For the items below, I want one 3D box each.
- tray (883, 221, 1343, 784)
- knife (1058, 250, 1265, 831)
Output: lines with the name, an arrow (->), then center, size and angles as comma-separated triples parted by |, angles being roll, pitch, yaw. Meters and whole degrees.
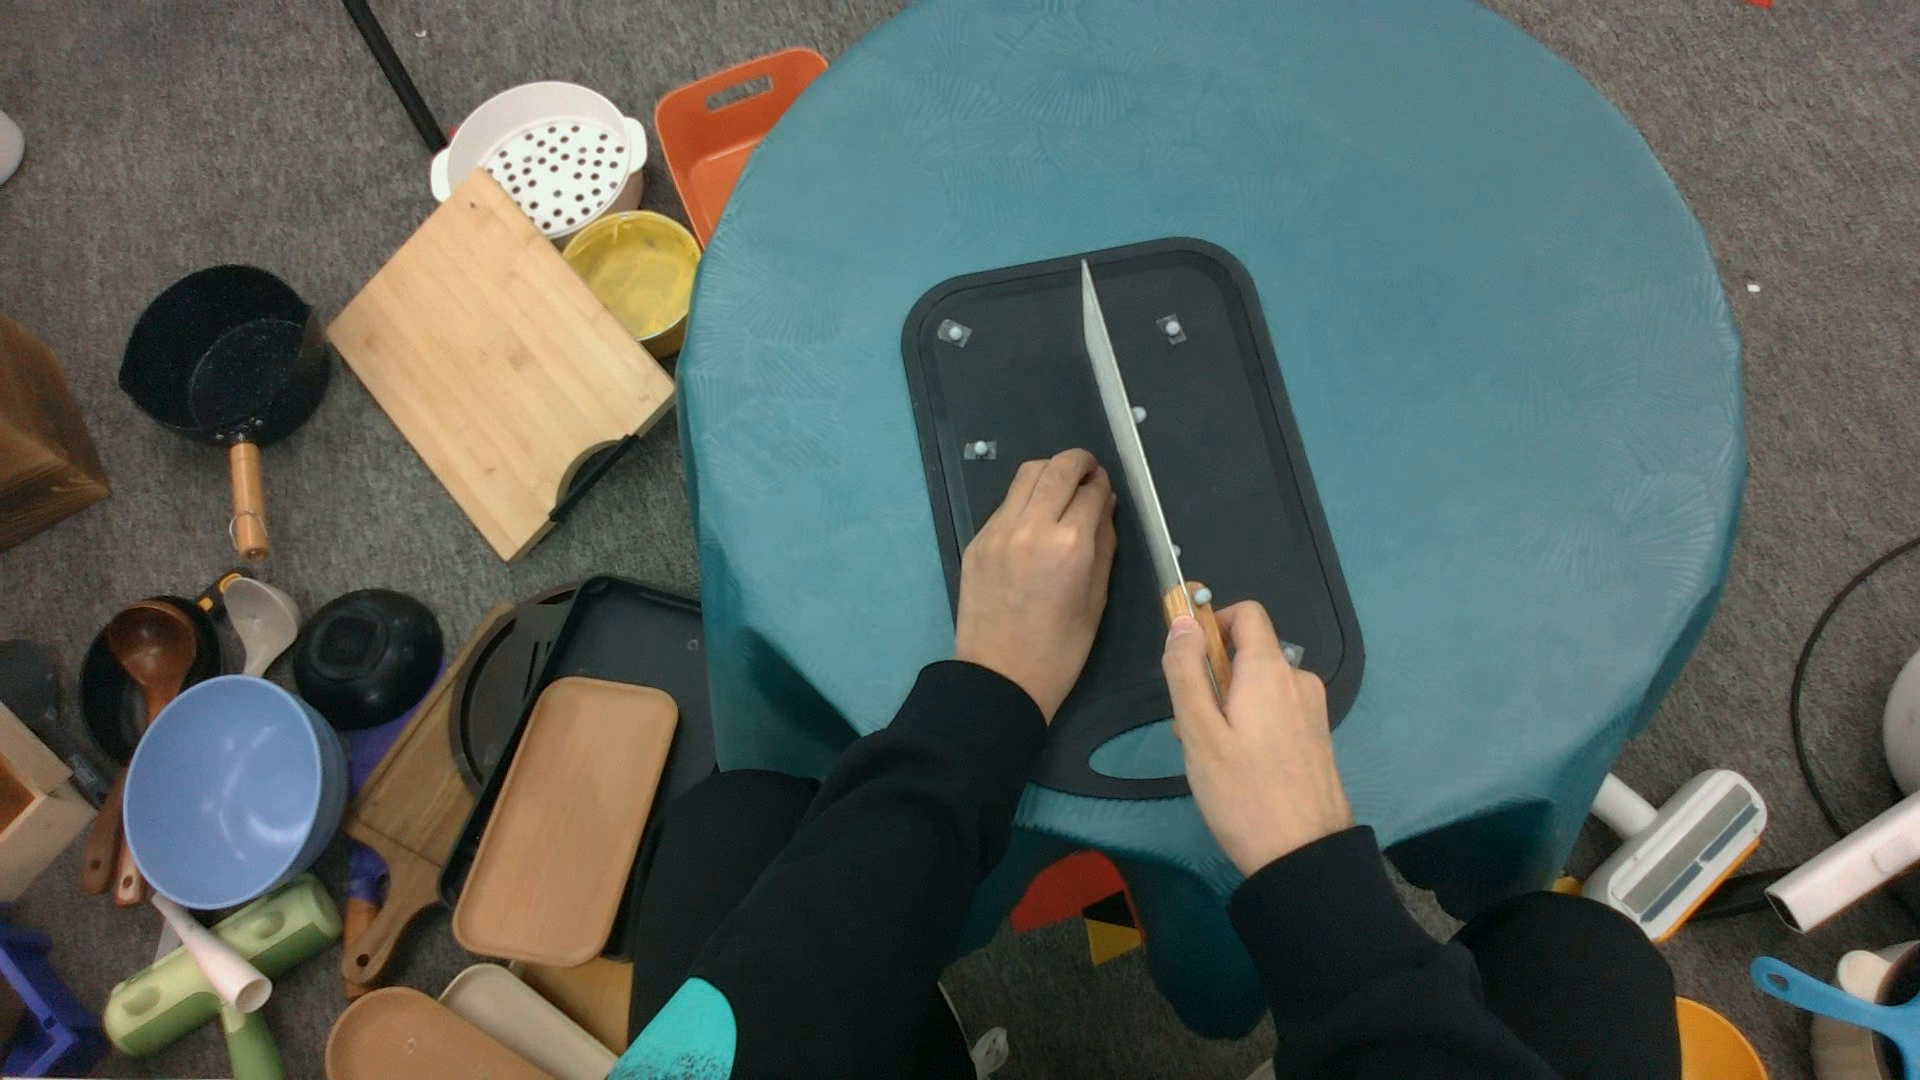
tray -> 0.080, -0.030, 0.752 | 0.211, 0.010, 0.326 | -10, 68, -2
knife -> 0.092, 0.000, 0.687 | 0.021, 0.092, 0.306 | -15, 68, 0
